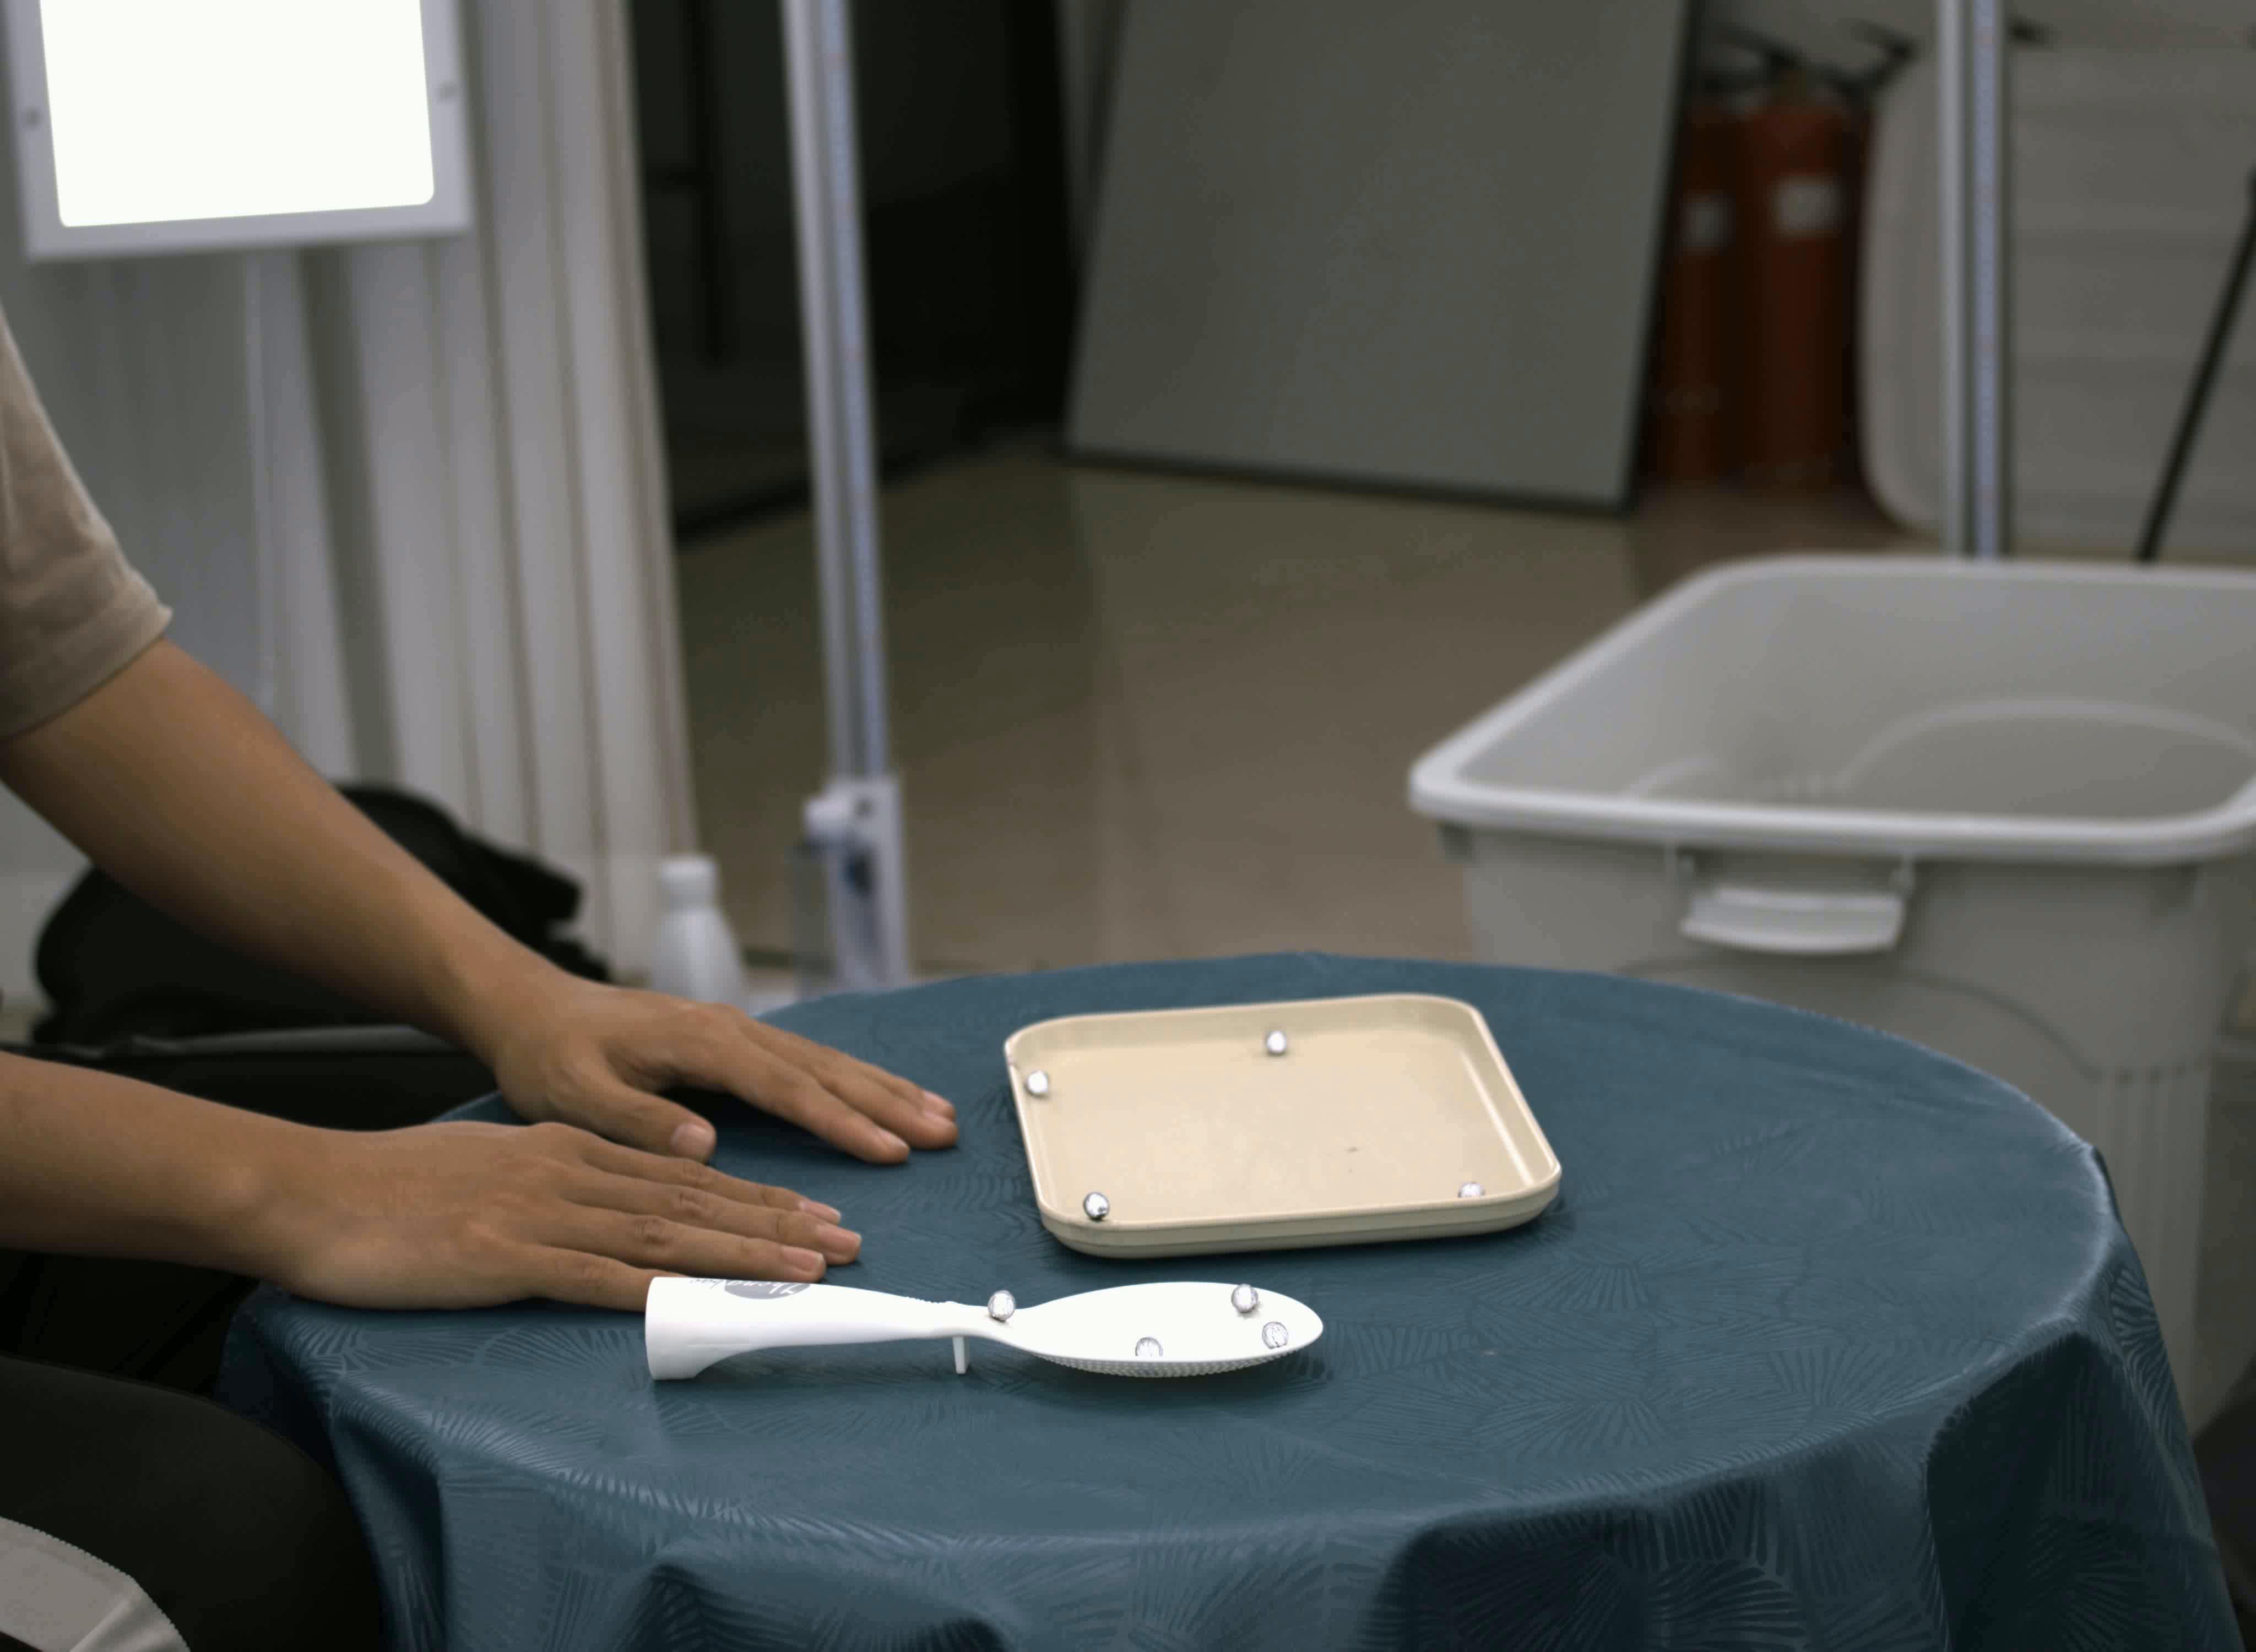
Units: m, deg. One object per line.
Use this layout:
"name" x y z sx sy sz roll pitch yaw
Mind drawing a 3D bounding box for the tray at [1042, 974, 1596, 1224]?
"tray" 0.061 0.091 1.818 0.169 0.017 0.240 -4 13 -3

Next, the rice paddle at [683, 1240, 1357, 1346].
"rice paddle" -0.032 0.137 1.622 0.203 0.030 0.068 -2 15 8
